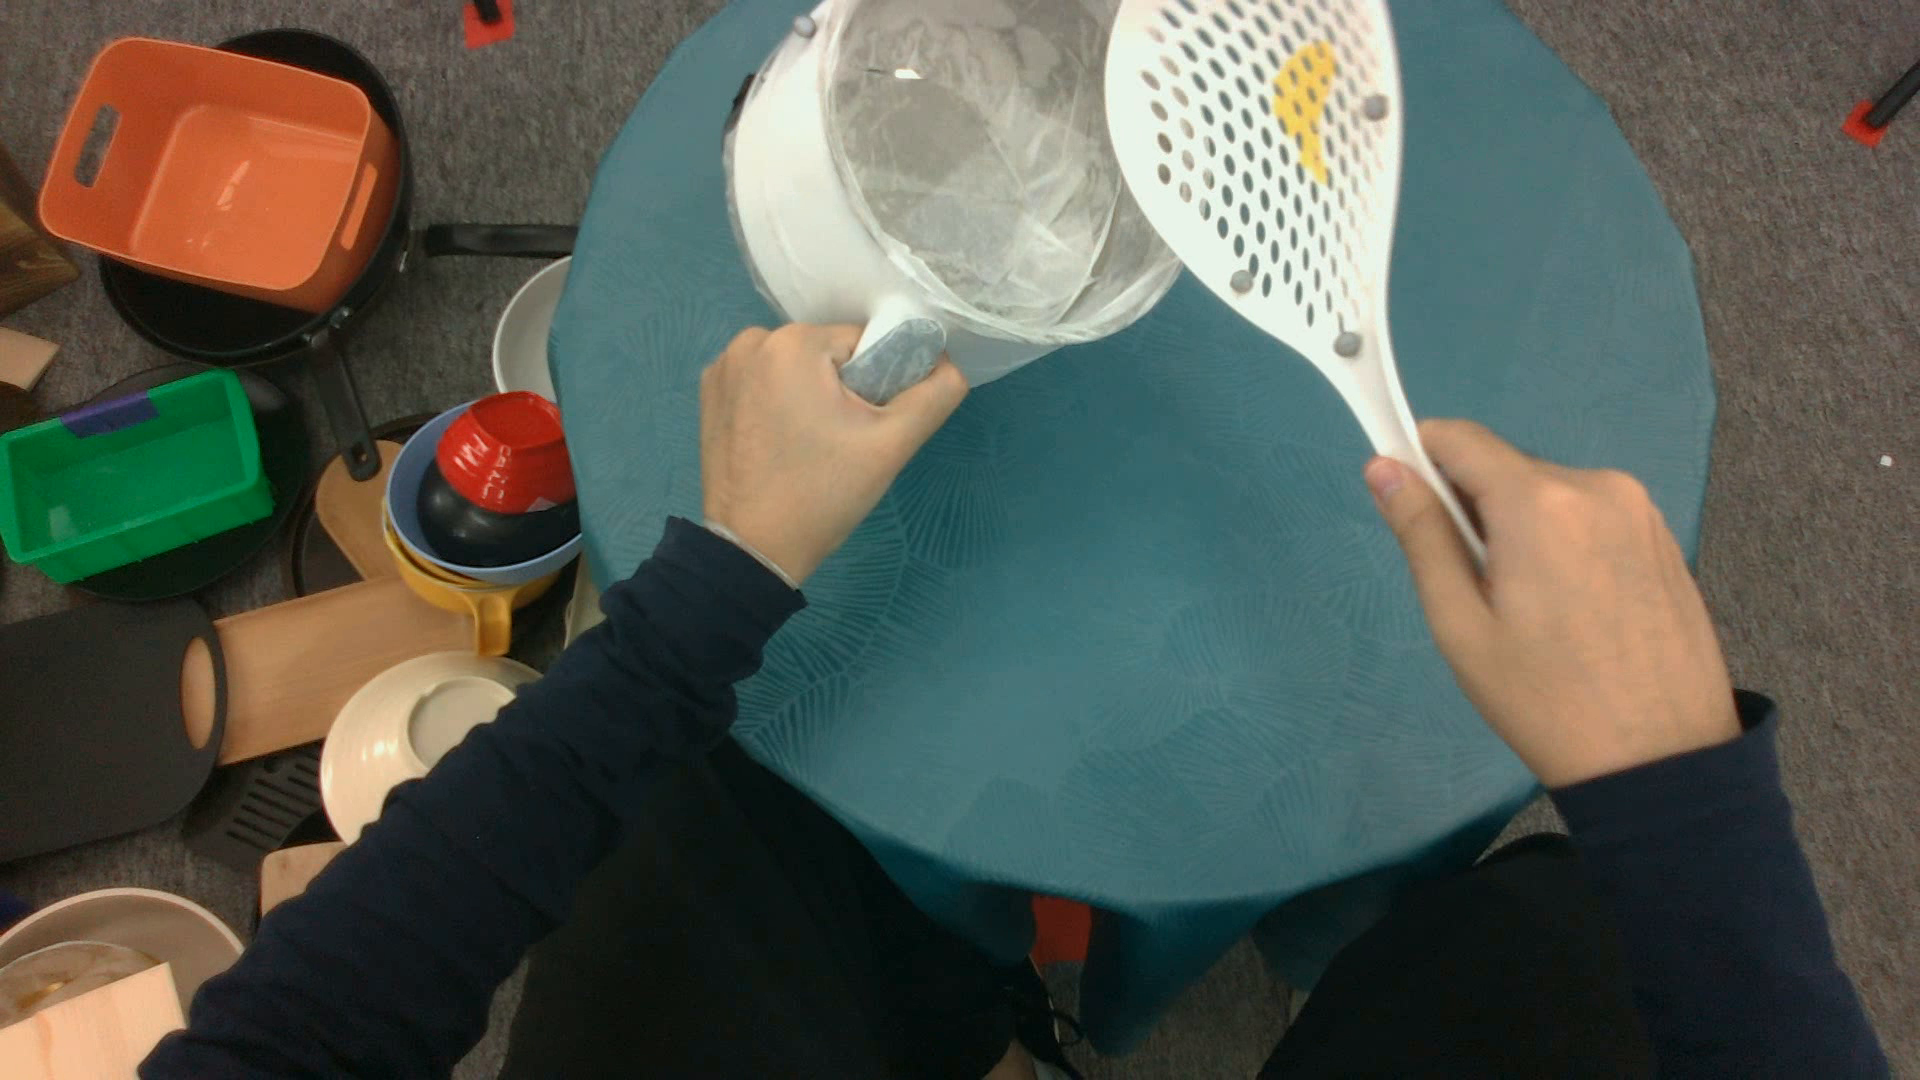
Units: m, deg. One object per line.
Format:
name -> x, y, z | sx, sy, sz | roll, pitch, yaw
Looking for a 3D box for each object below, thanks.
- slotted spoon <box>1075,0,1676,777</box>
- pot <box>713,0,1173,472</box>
slotted spoon -> 0.138, -0.075, 0.477 | 0.050, 0.136, 0.348 | -12, 71, -27
pot -> -0.017, -0.139, 0.589 | 0.179, 0.136, 0.234 | 30, 70, -21
